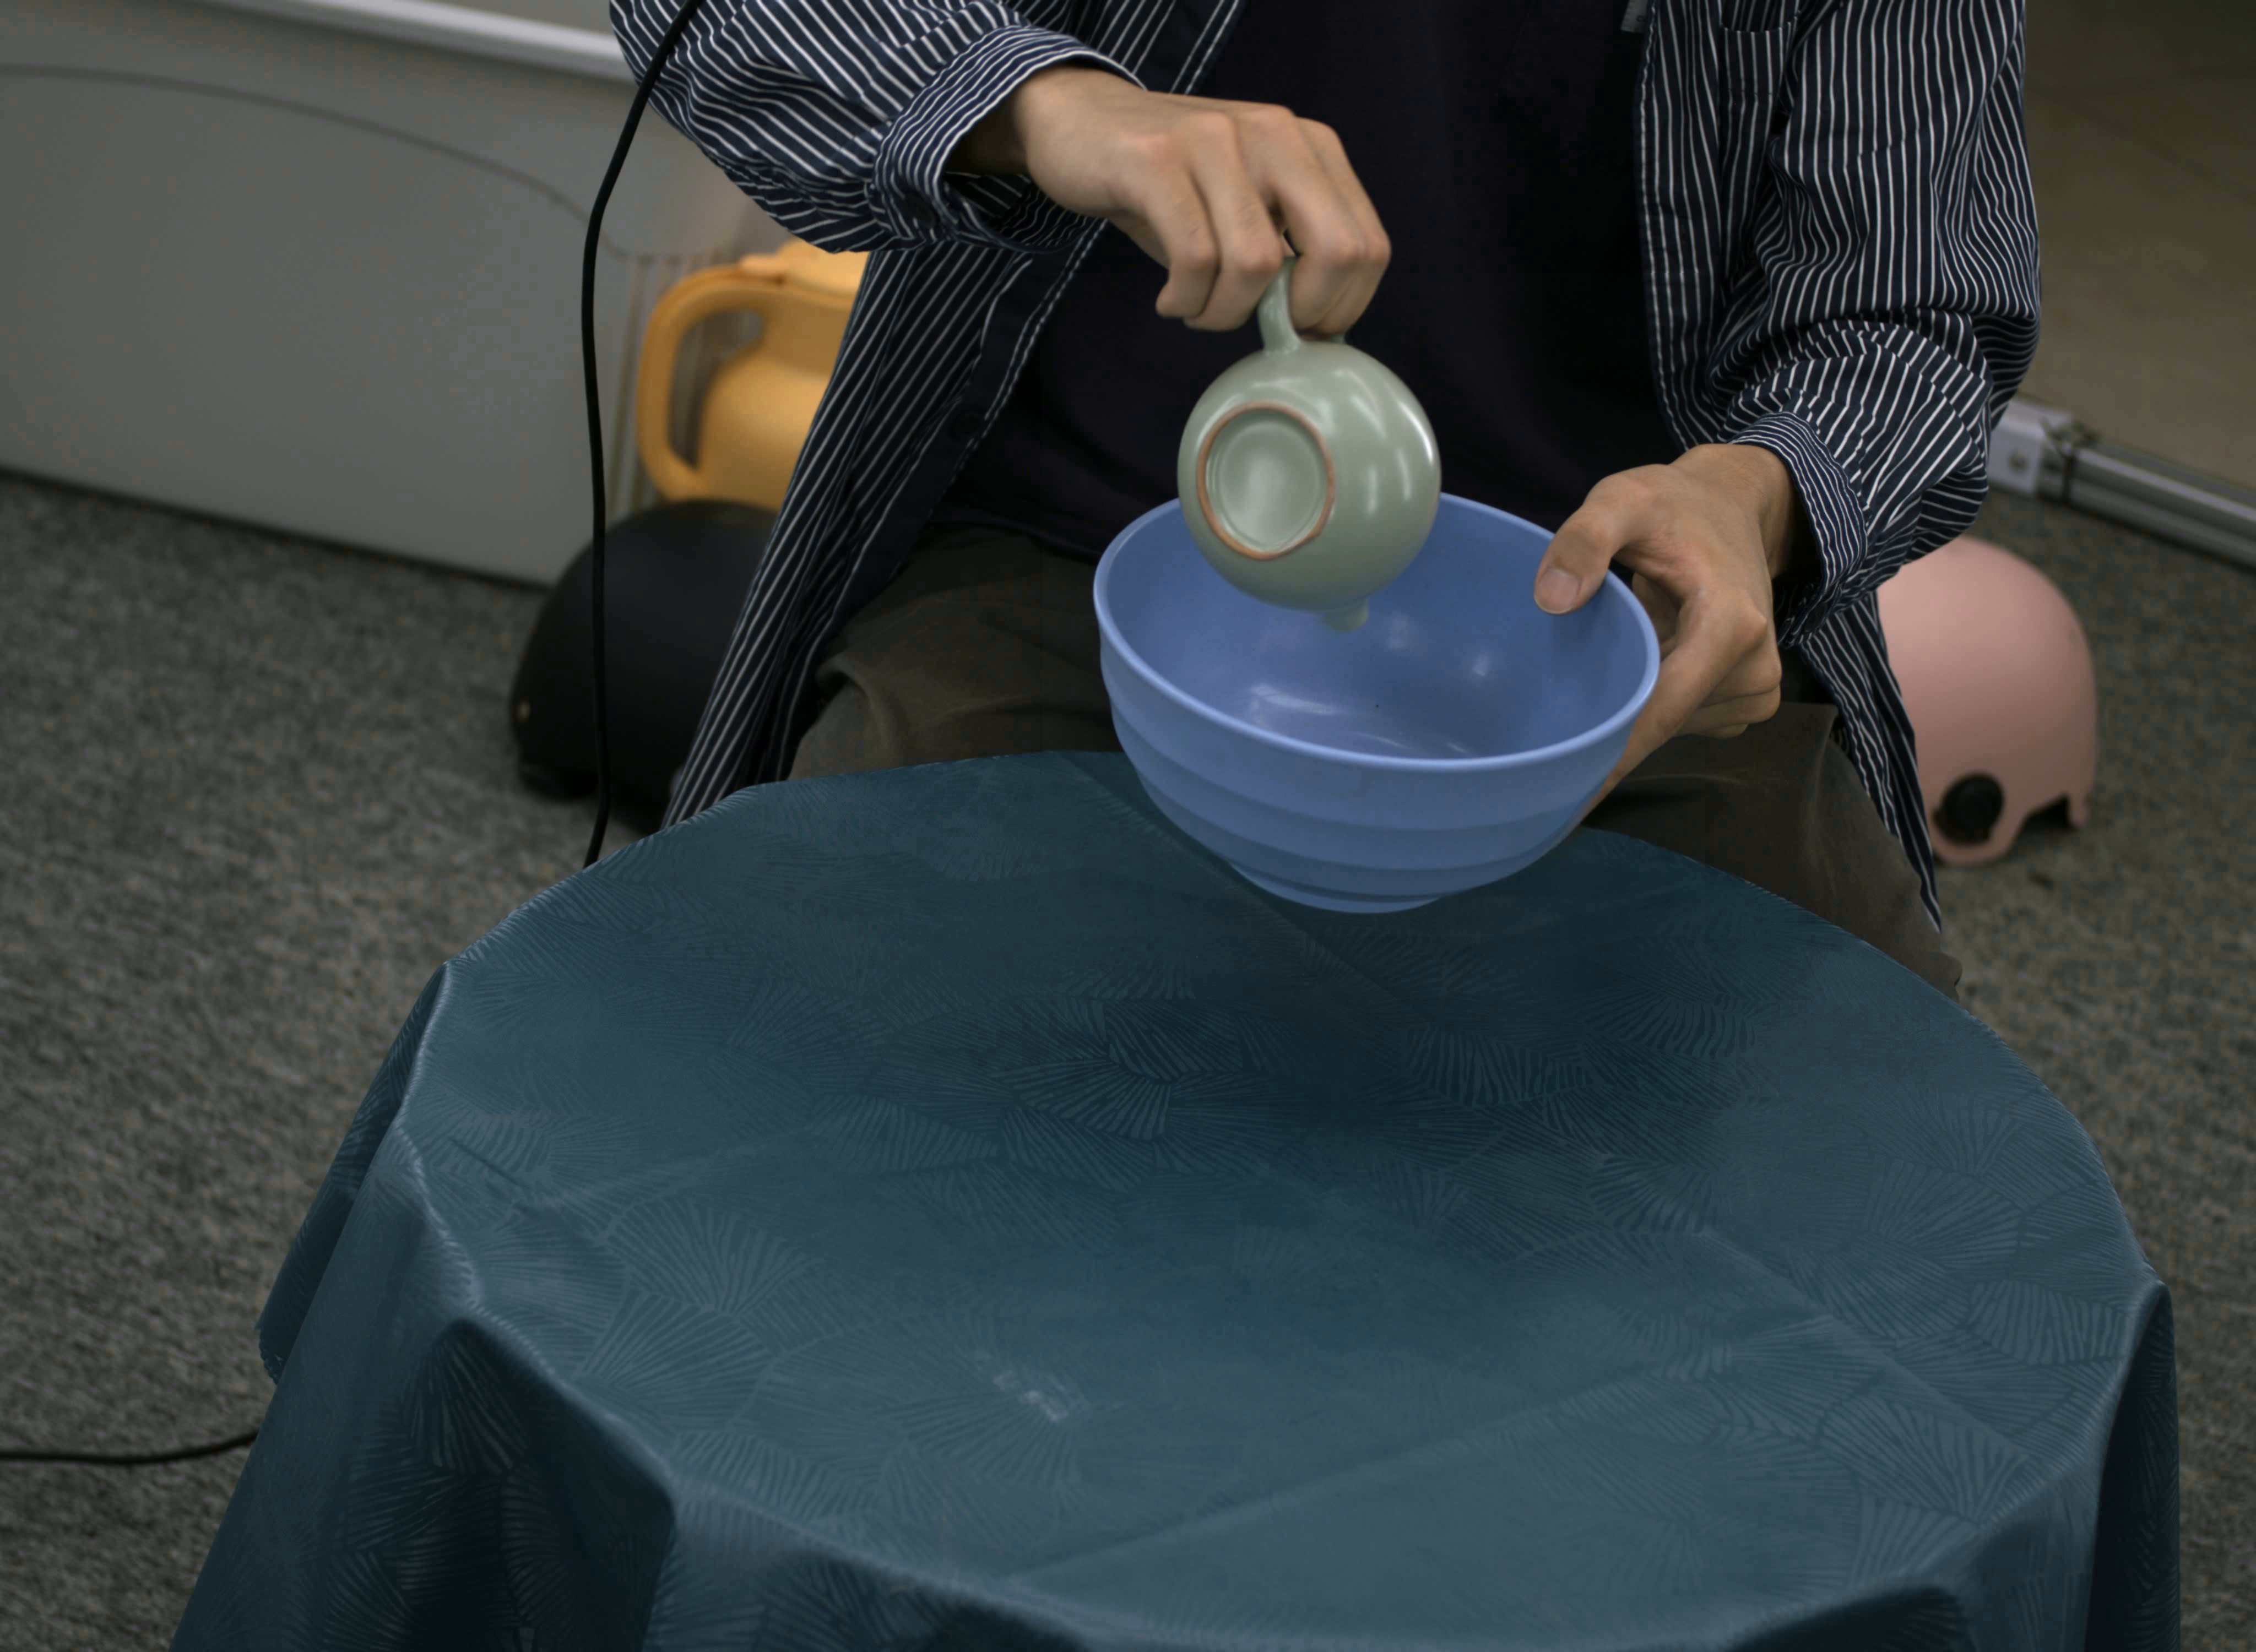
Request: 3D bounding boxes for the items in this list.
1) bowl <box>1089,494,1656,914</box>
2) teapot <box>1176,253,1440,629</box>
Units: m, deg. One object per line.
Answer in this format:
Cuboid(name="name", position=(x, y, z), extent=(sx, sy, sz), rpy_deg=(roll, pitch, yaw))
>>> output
Cuboid(name="bowl", position=(0.079, -0.033, 1.850), extent=(0.196, 0.095, 0.198), rpy_deg=(5, 31, -4))
Cuboid(name="teapot", position=(0.059, -0.128, 1.788), extent=(0.092, 0.129, 0.060), rpy_deg=(-6, 2, 34))
